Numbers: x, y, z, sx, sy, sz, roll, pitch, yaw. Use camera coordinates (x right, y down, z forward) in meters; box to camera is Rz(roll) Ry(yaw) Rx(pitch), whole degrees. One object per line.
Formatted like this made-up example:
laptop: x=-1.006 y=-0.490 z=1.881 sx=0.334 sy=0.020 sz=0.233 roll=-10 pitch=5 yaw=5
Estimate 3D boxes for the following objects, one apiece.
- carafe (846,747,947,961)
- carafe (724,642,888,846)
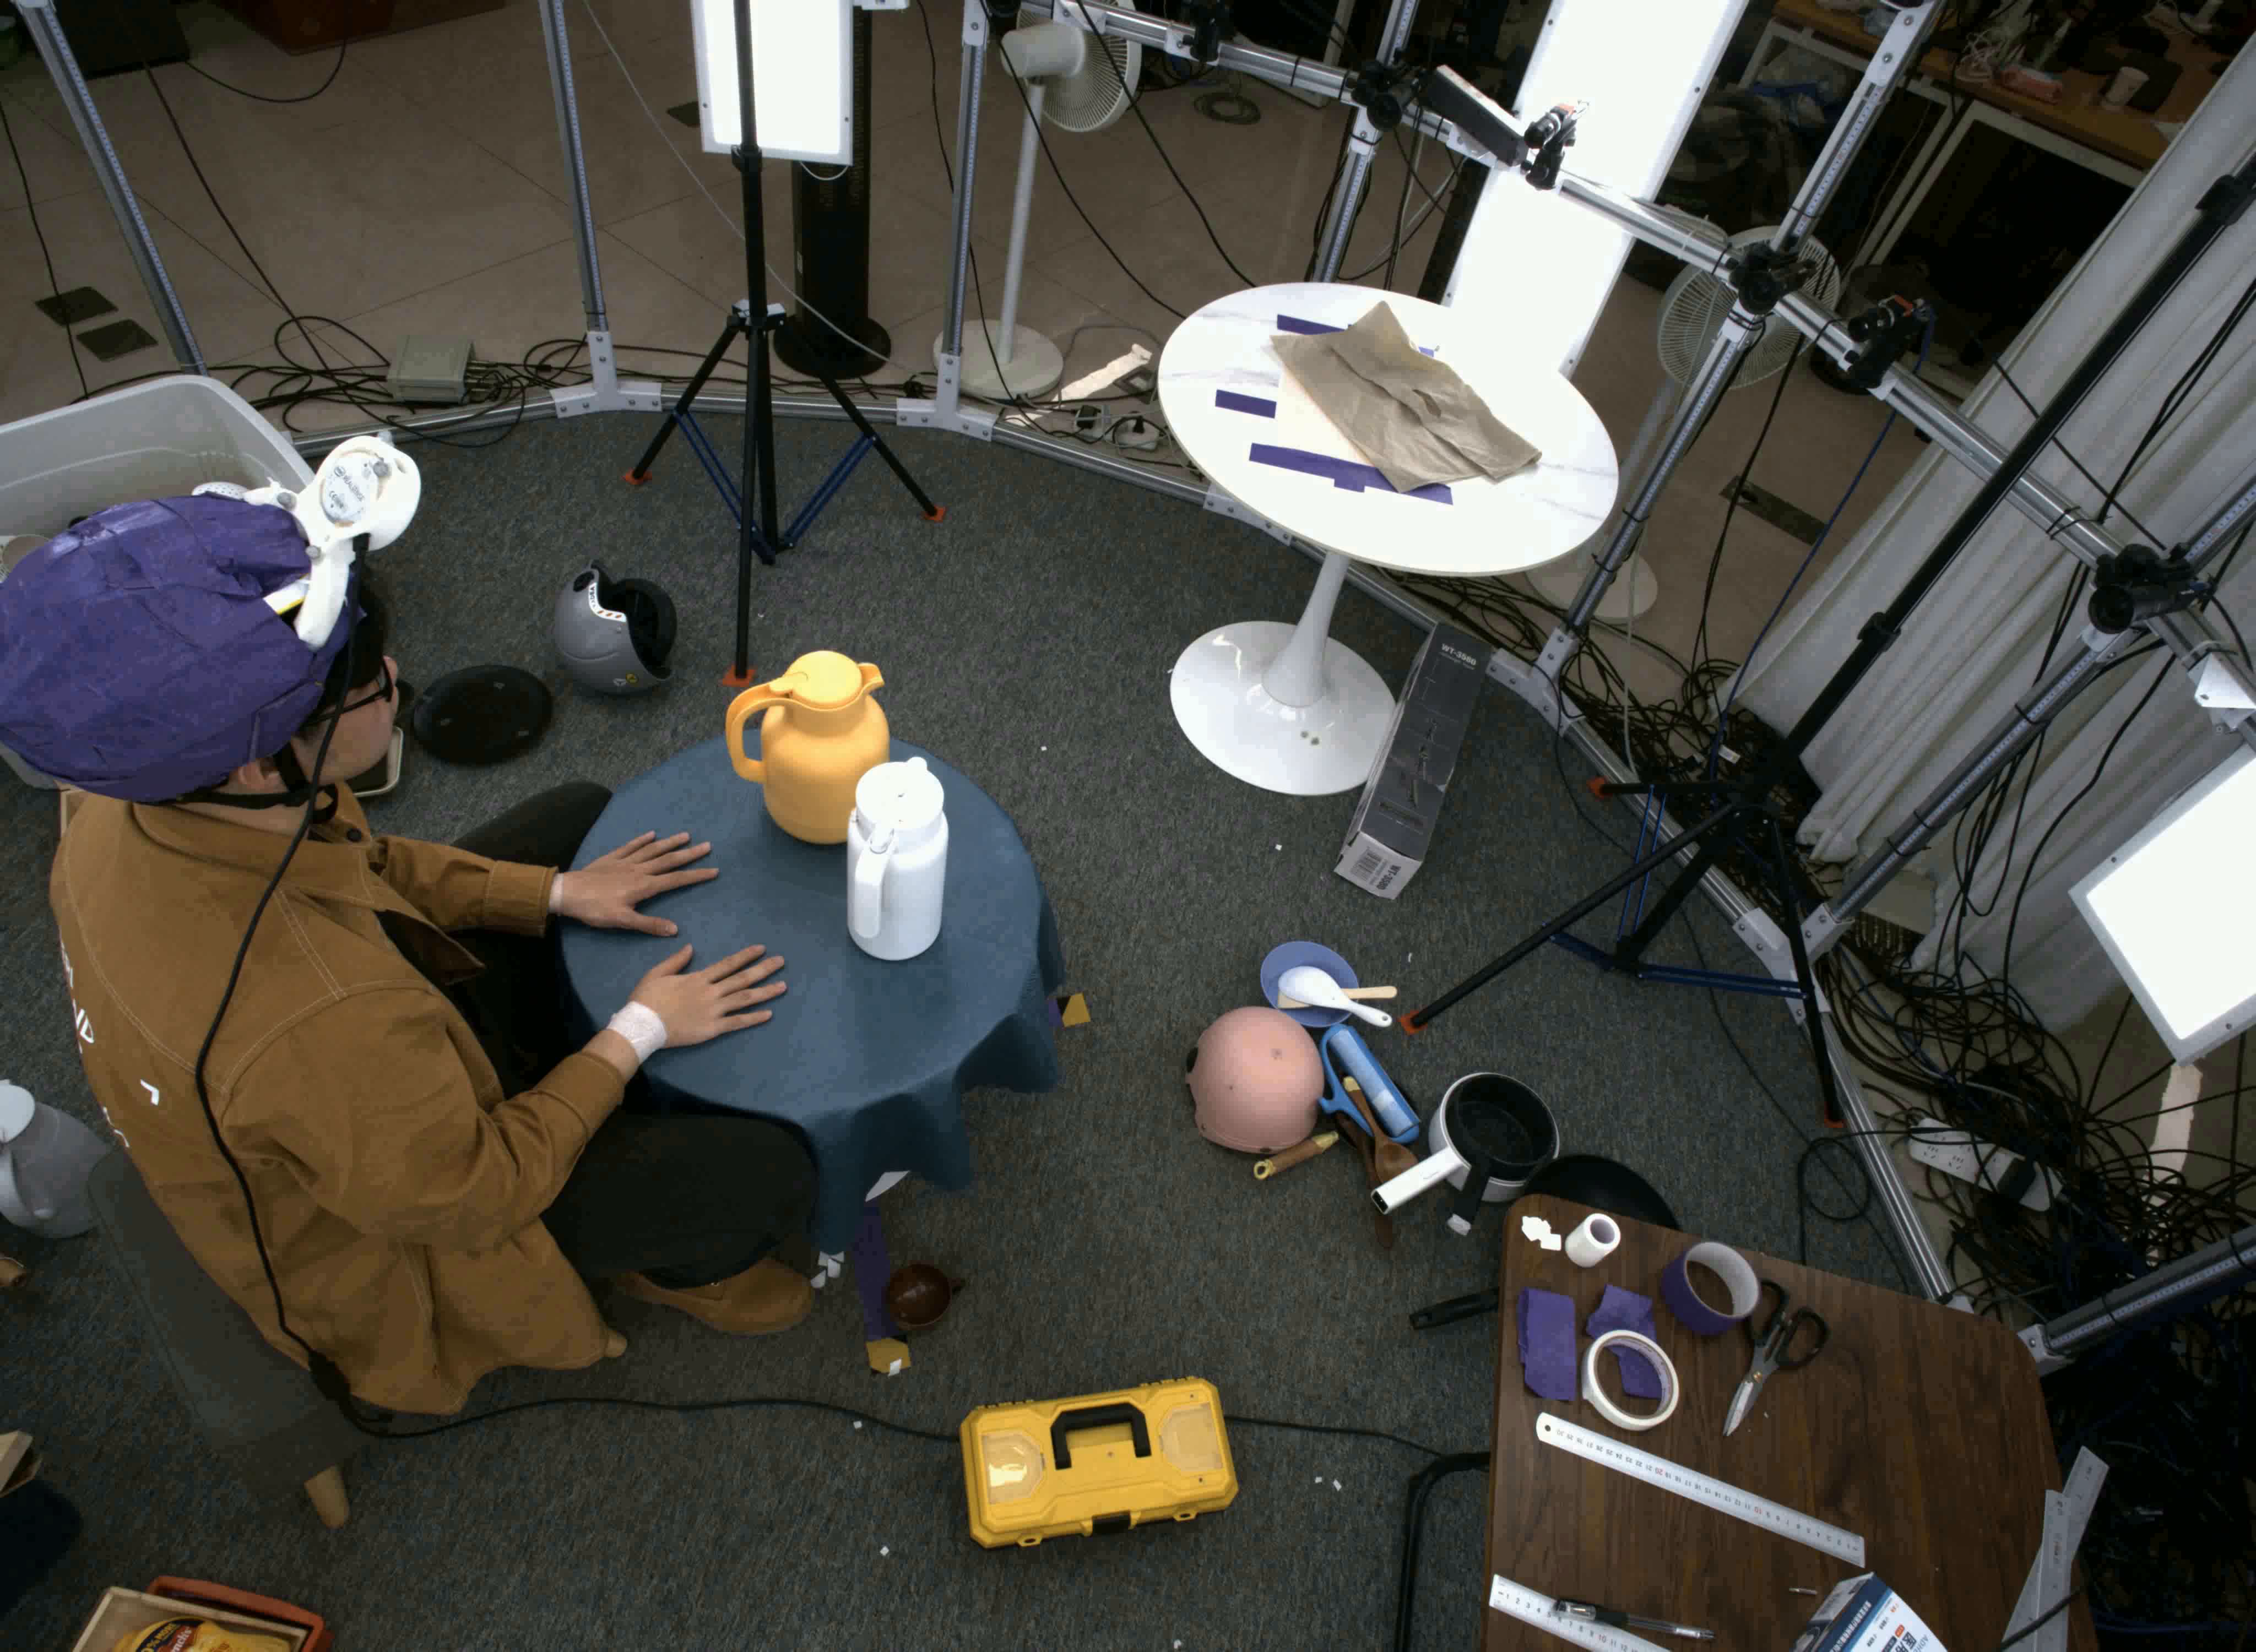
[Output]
carafe: x=-0.281 y=0.054 z=1.545 sx=0.123 sy=0.274 sz=0.171 roll=17 pitch=51 yaw=-1
carafe: x=-0.404 y=-0.106 z=1.635 sx=0.203 sy=0.266 sz=0.159 roll=-10 pitch=52 yaw=-22
